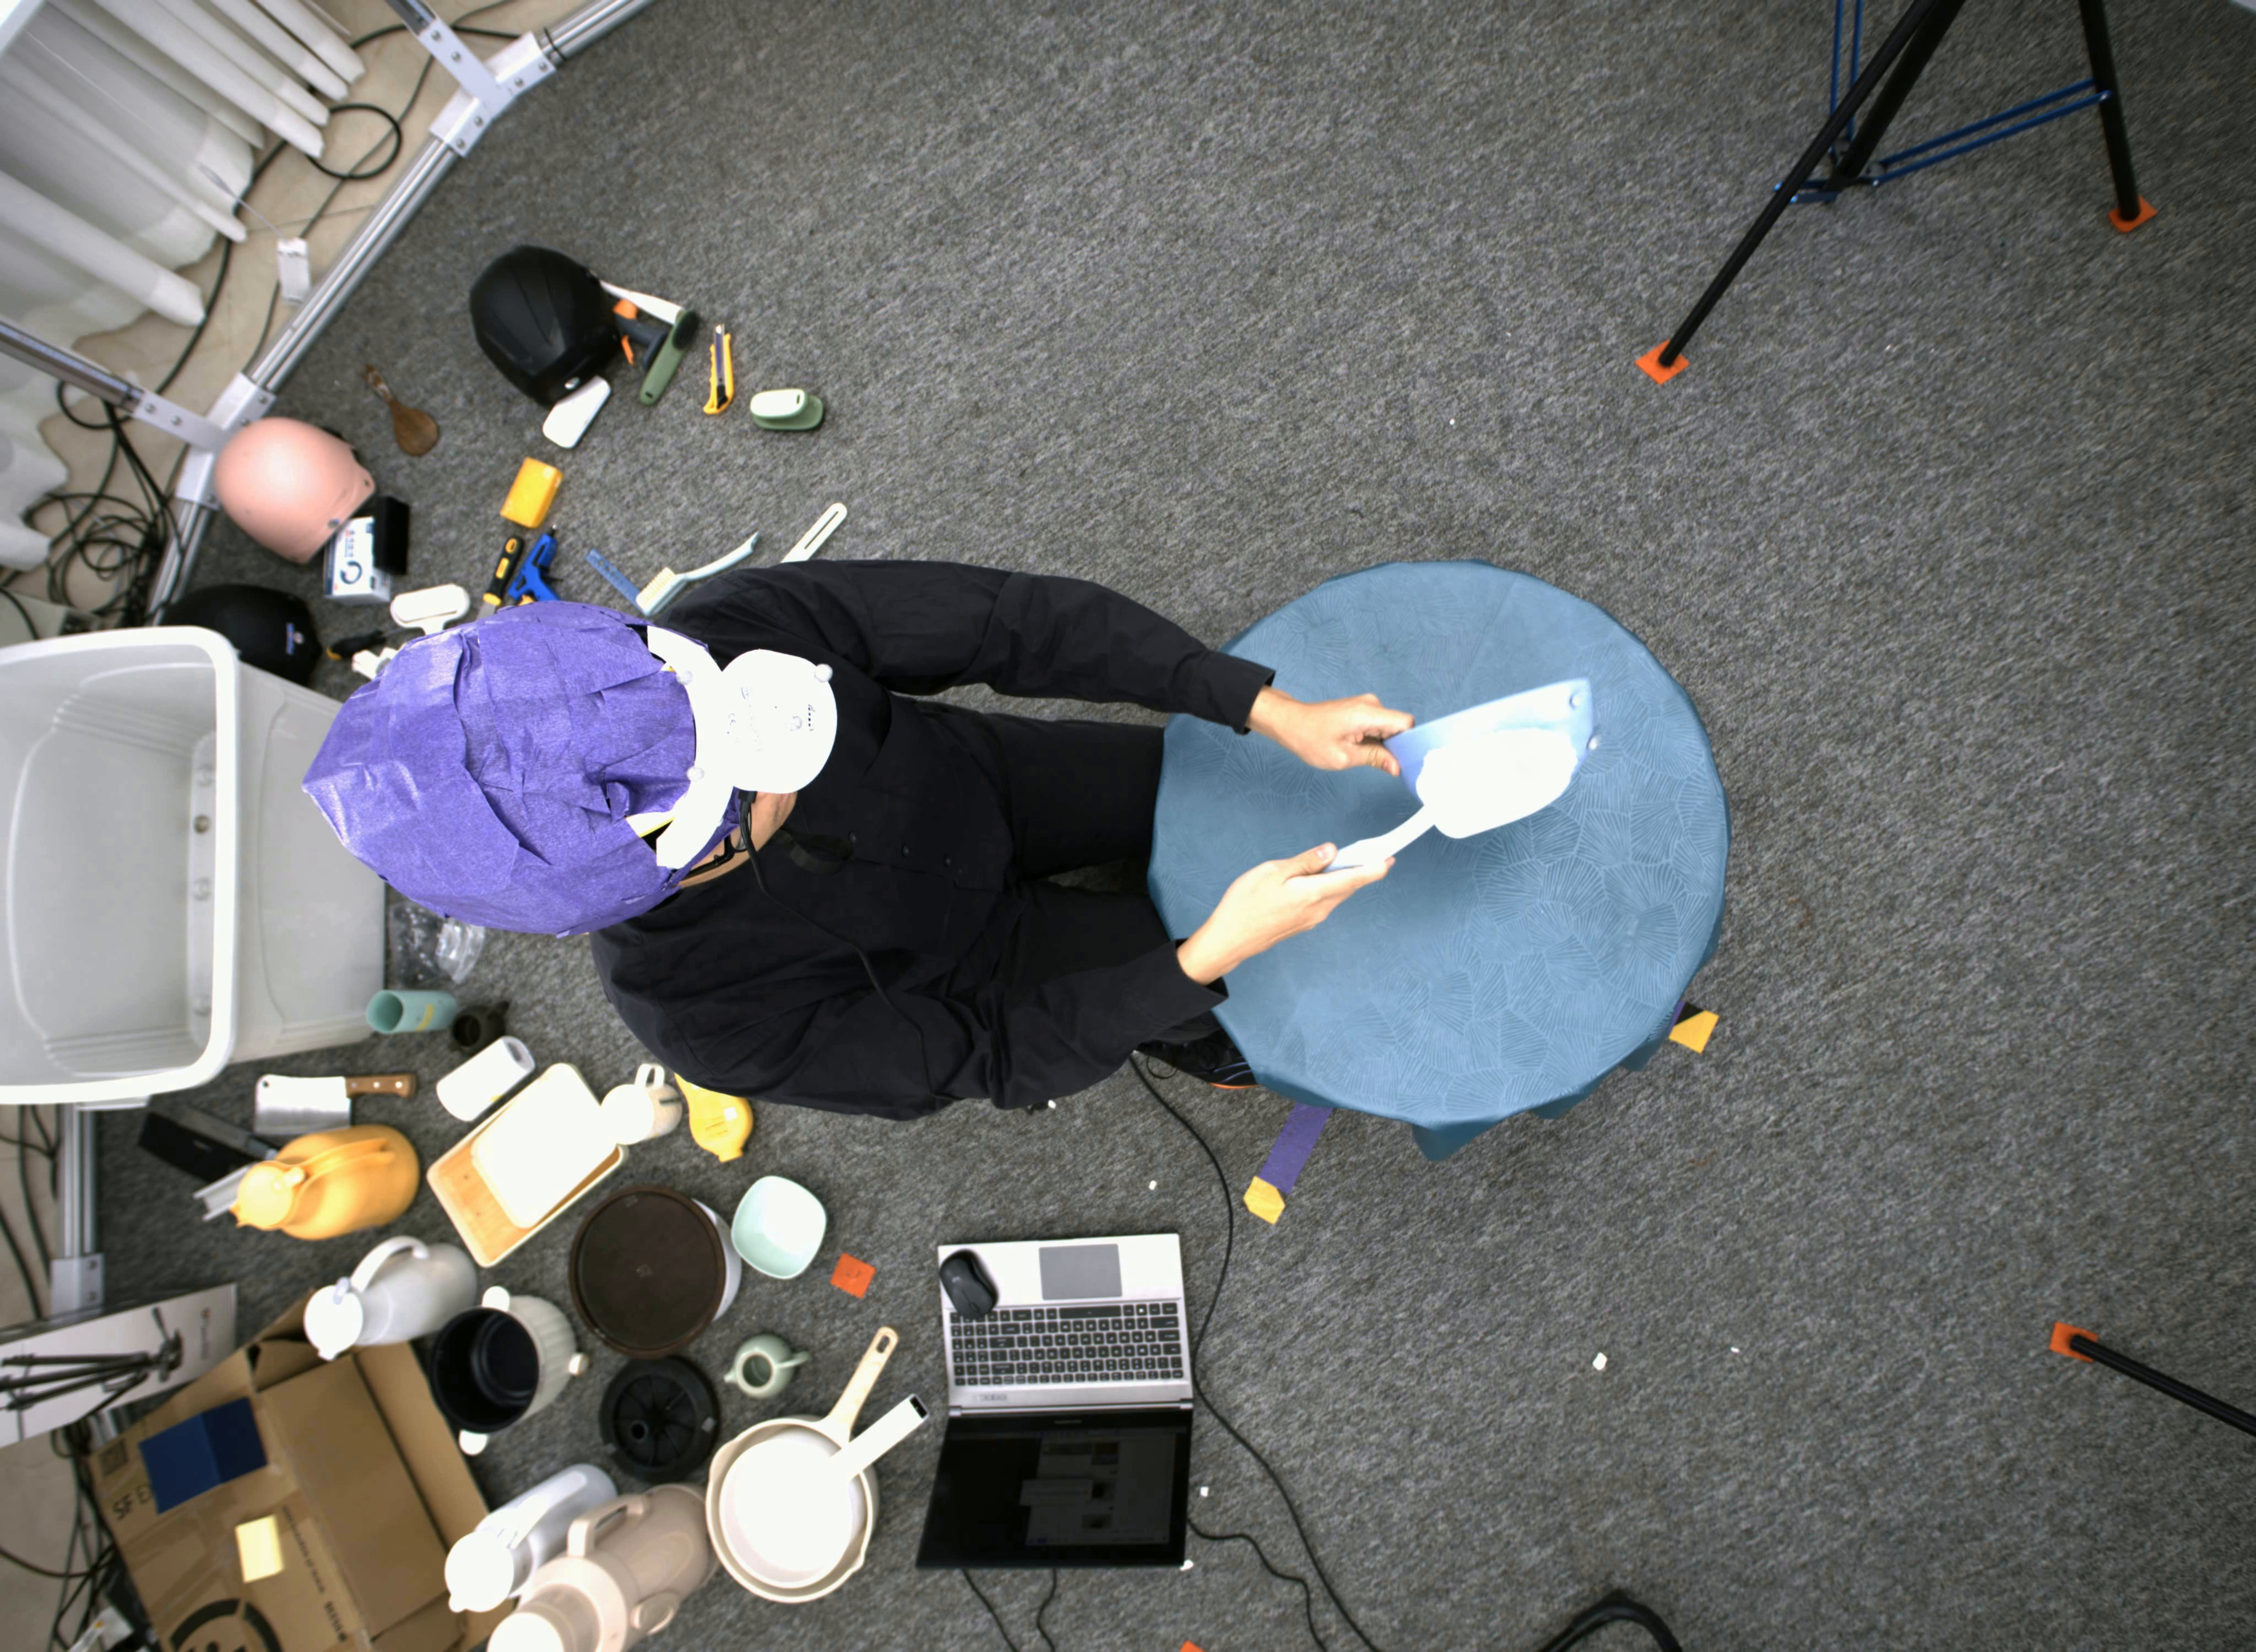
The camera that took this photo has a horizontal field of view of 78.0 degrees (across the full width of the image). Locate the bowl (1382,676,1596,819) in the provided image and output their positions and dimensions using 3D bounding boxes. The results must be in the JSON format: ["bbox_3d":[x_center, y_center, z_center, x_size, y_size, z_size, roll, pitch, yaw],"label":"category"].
[{"bbox_3d":[0.339,-0.061,1.249,0.197,0.196,0.095,-18,87,8],"label":"bowl"}]

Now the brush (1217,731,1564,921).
[{"bbox_3d":[0.220,-0.006,1.197,0.330,0.084,0.082,-25,75,25],"label":"brush"}]
